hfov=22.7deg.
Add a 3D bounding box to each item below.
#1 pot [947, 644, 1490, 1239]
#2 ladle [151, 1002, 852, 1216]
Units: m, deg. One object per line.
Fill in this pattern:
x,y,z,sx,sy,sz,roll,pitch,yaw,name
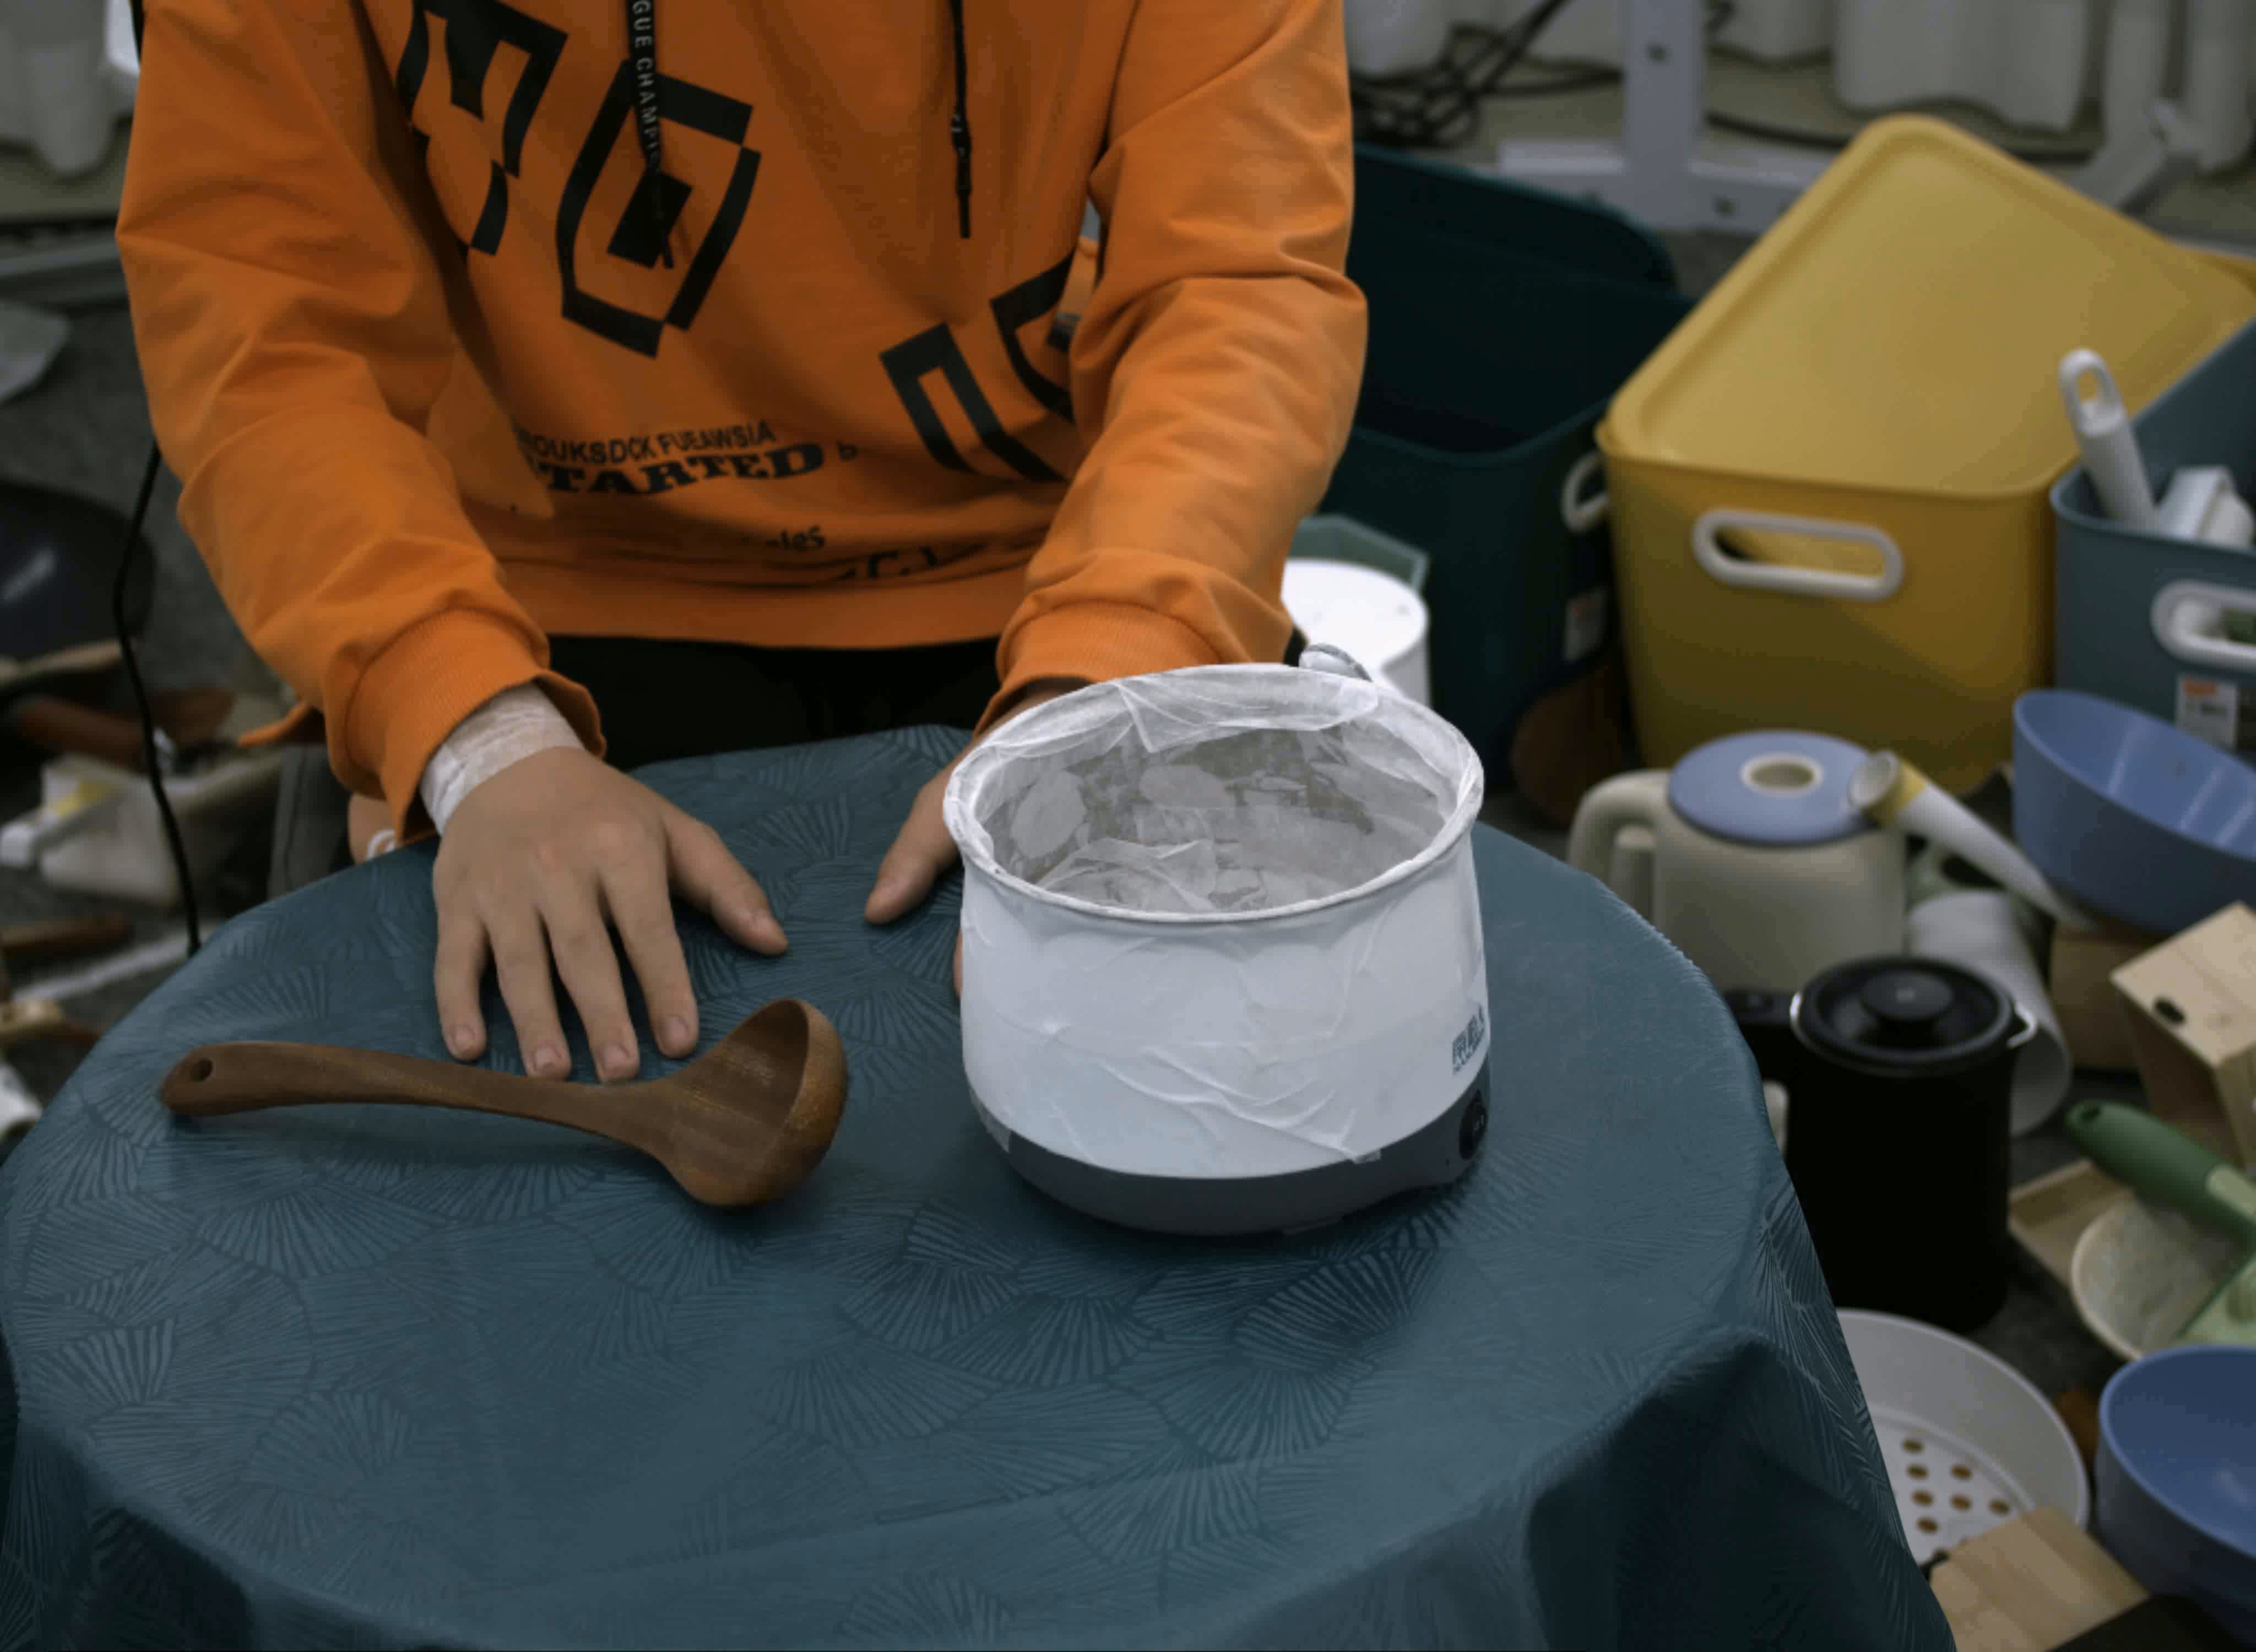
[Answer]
0.041,0.031,1.887,0.177,0.135,0.238,8,29,20,pot
-0.215,0.087,1.887,0.258,0.064,0.078,5,53,14,ladle
